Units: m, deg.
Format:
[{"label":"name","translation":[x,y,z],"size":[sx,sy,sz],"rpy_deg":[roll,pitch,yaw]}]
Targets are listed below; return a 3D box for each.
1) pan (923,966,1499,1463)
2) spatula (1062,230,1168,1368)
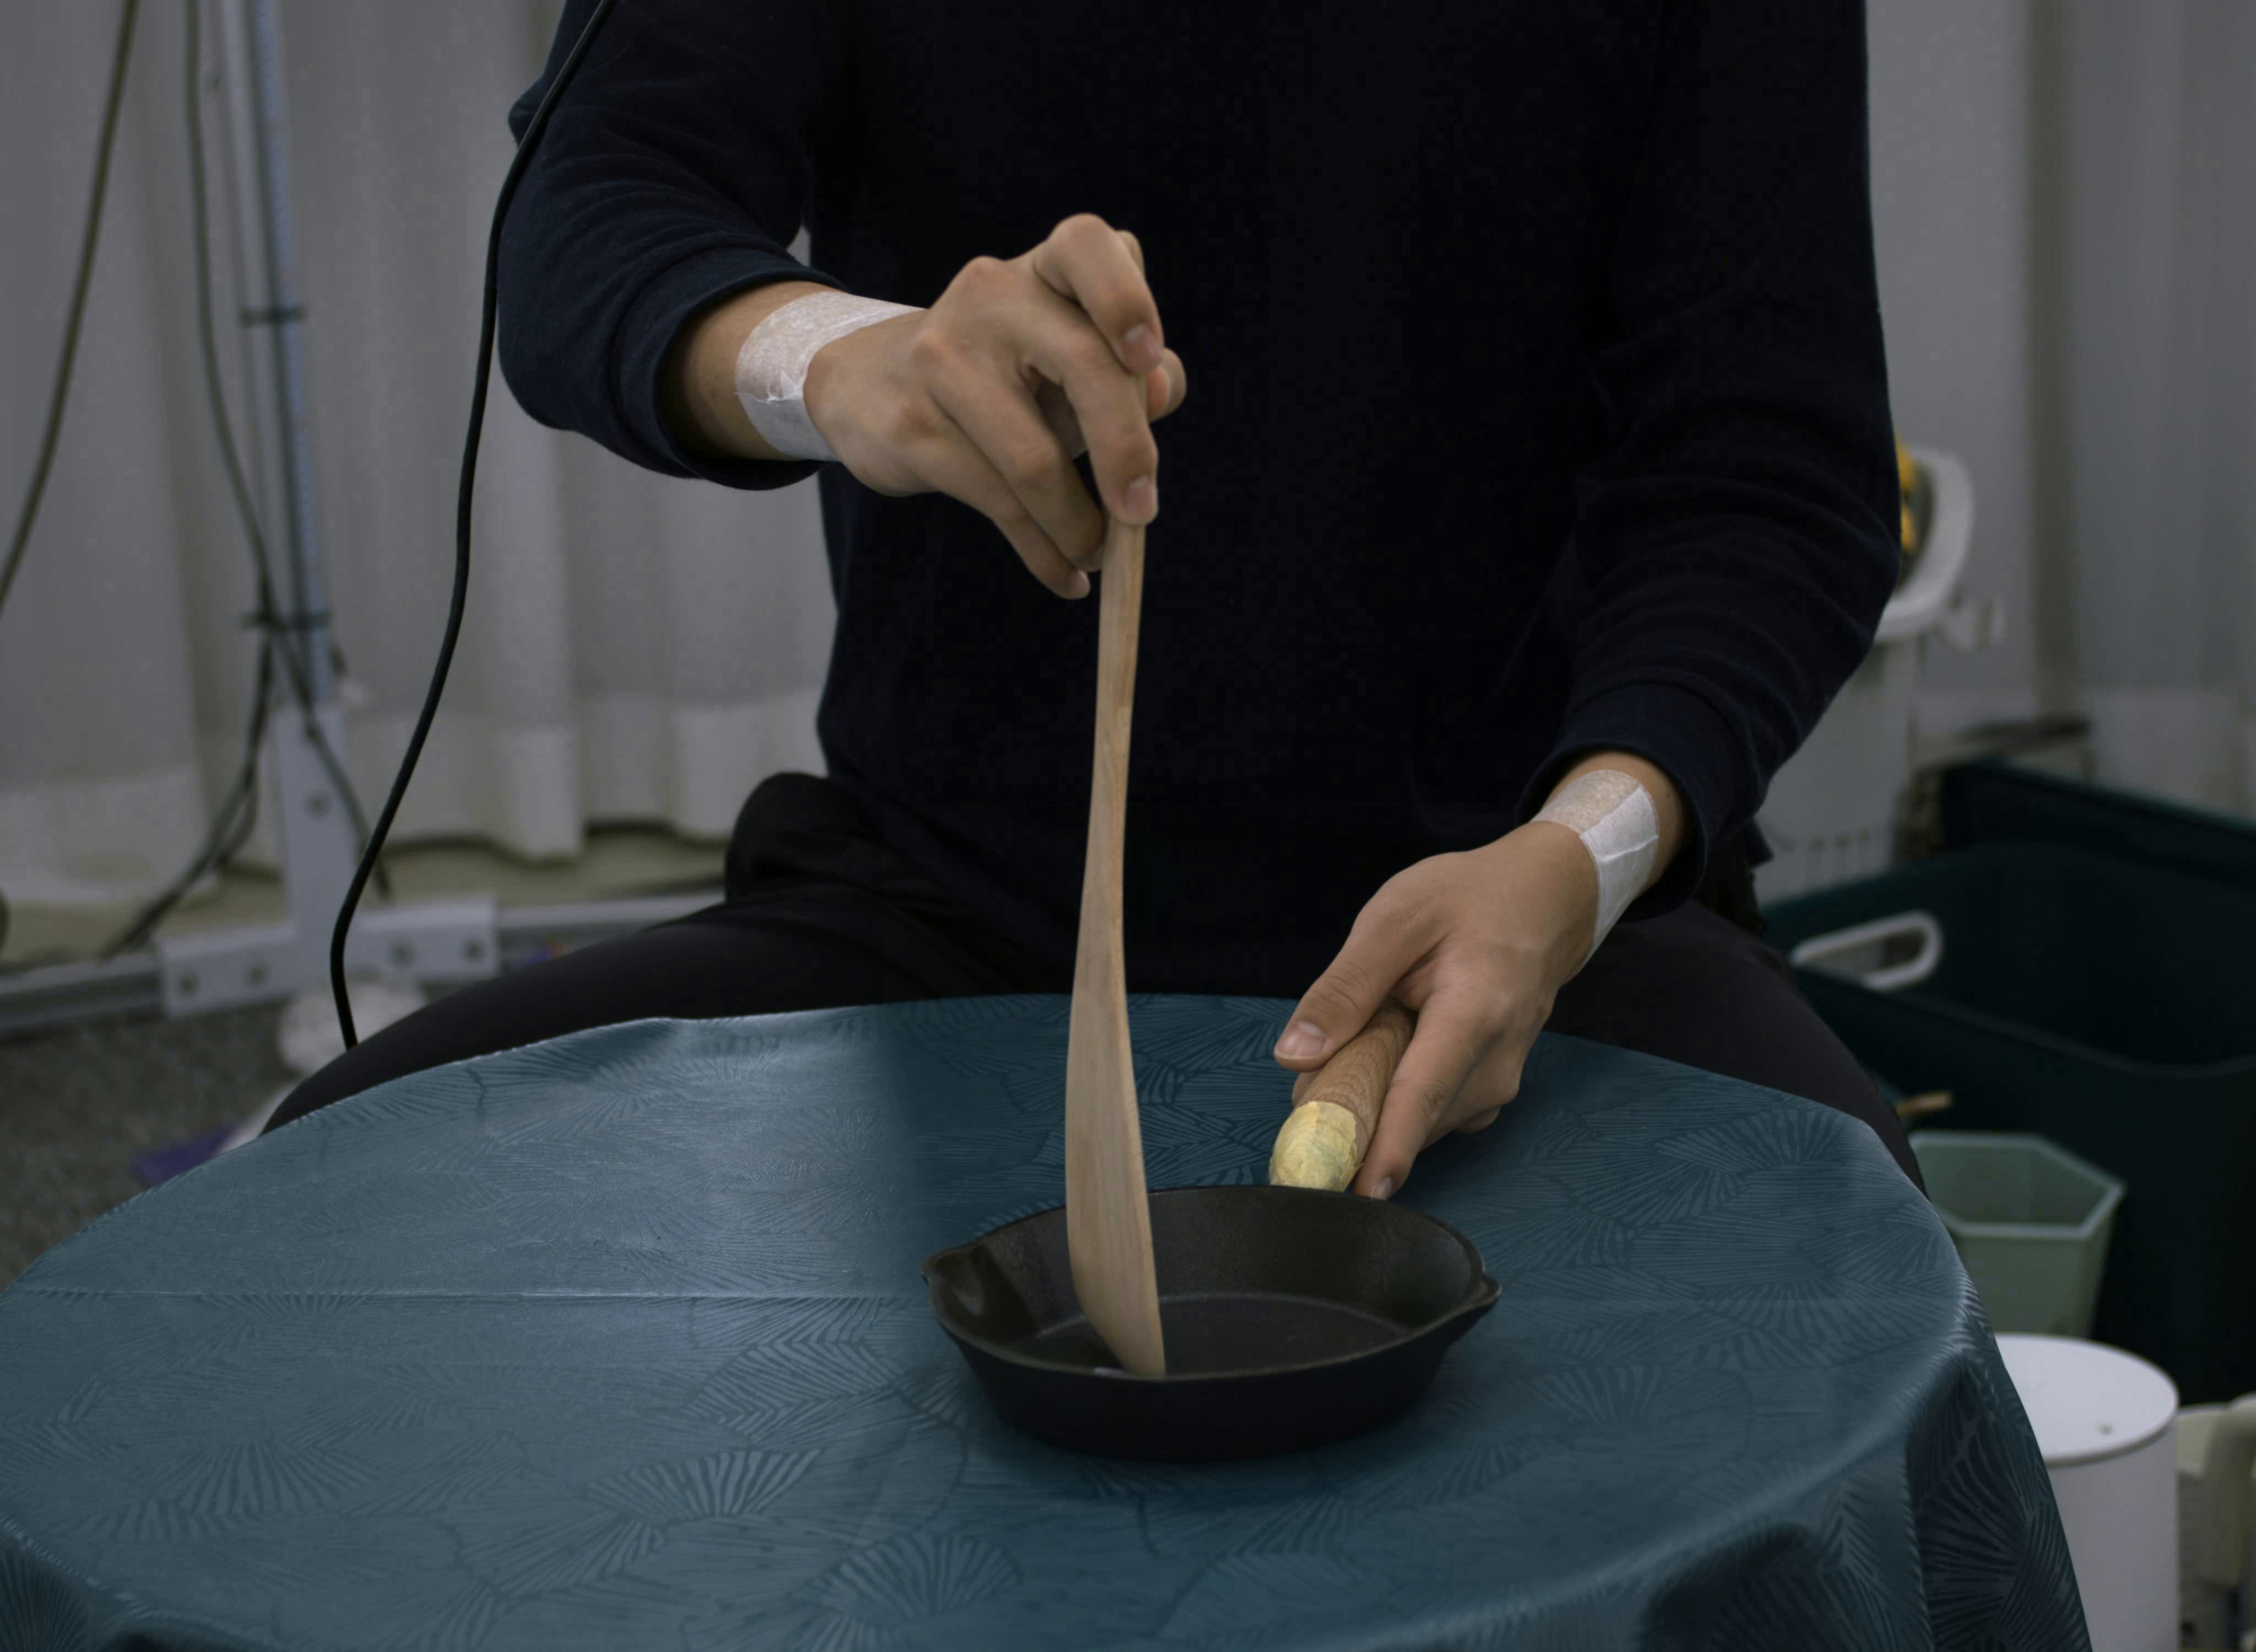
[{"label":"pan","translation":[0.050,0.112,1.620],"size":[0.169,0.049,0.325],"rpy_deg":[2,17,19]},{"label":"spatula","translation":[-0.002,-0.002,1.538],"size":[0.016,0.328,0.080],"rpy_deg":[0,5,-19]}]
